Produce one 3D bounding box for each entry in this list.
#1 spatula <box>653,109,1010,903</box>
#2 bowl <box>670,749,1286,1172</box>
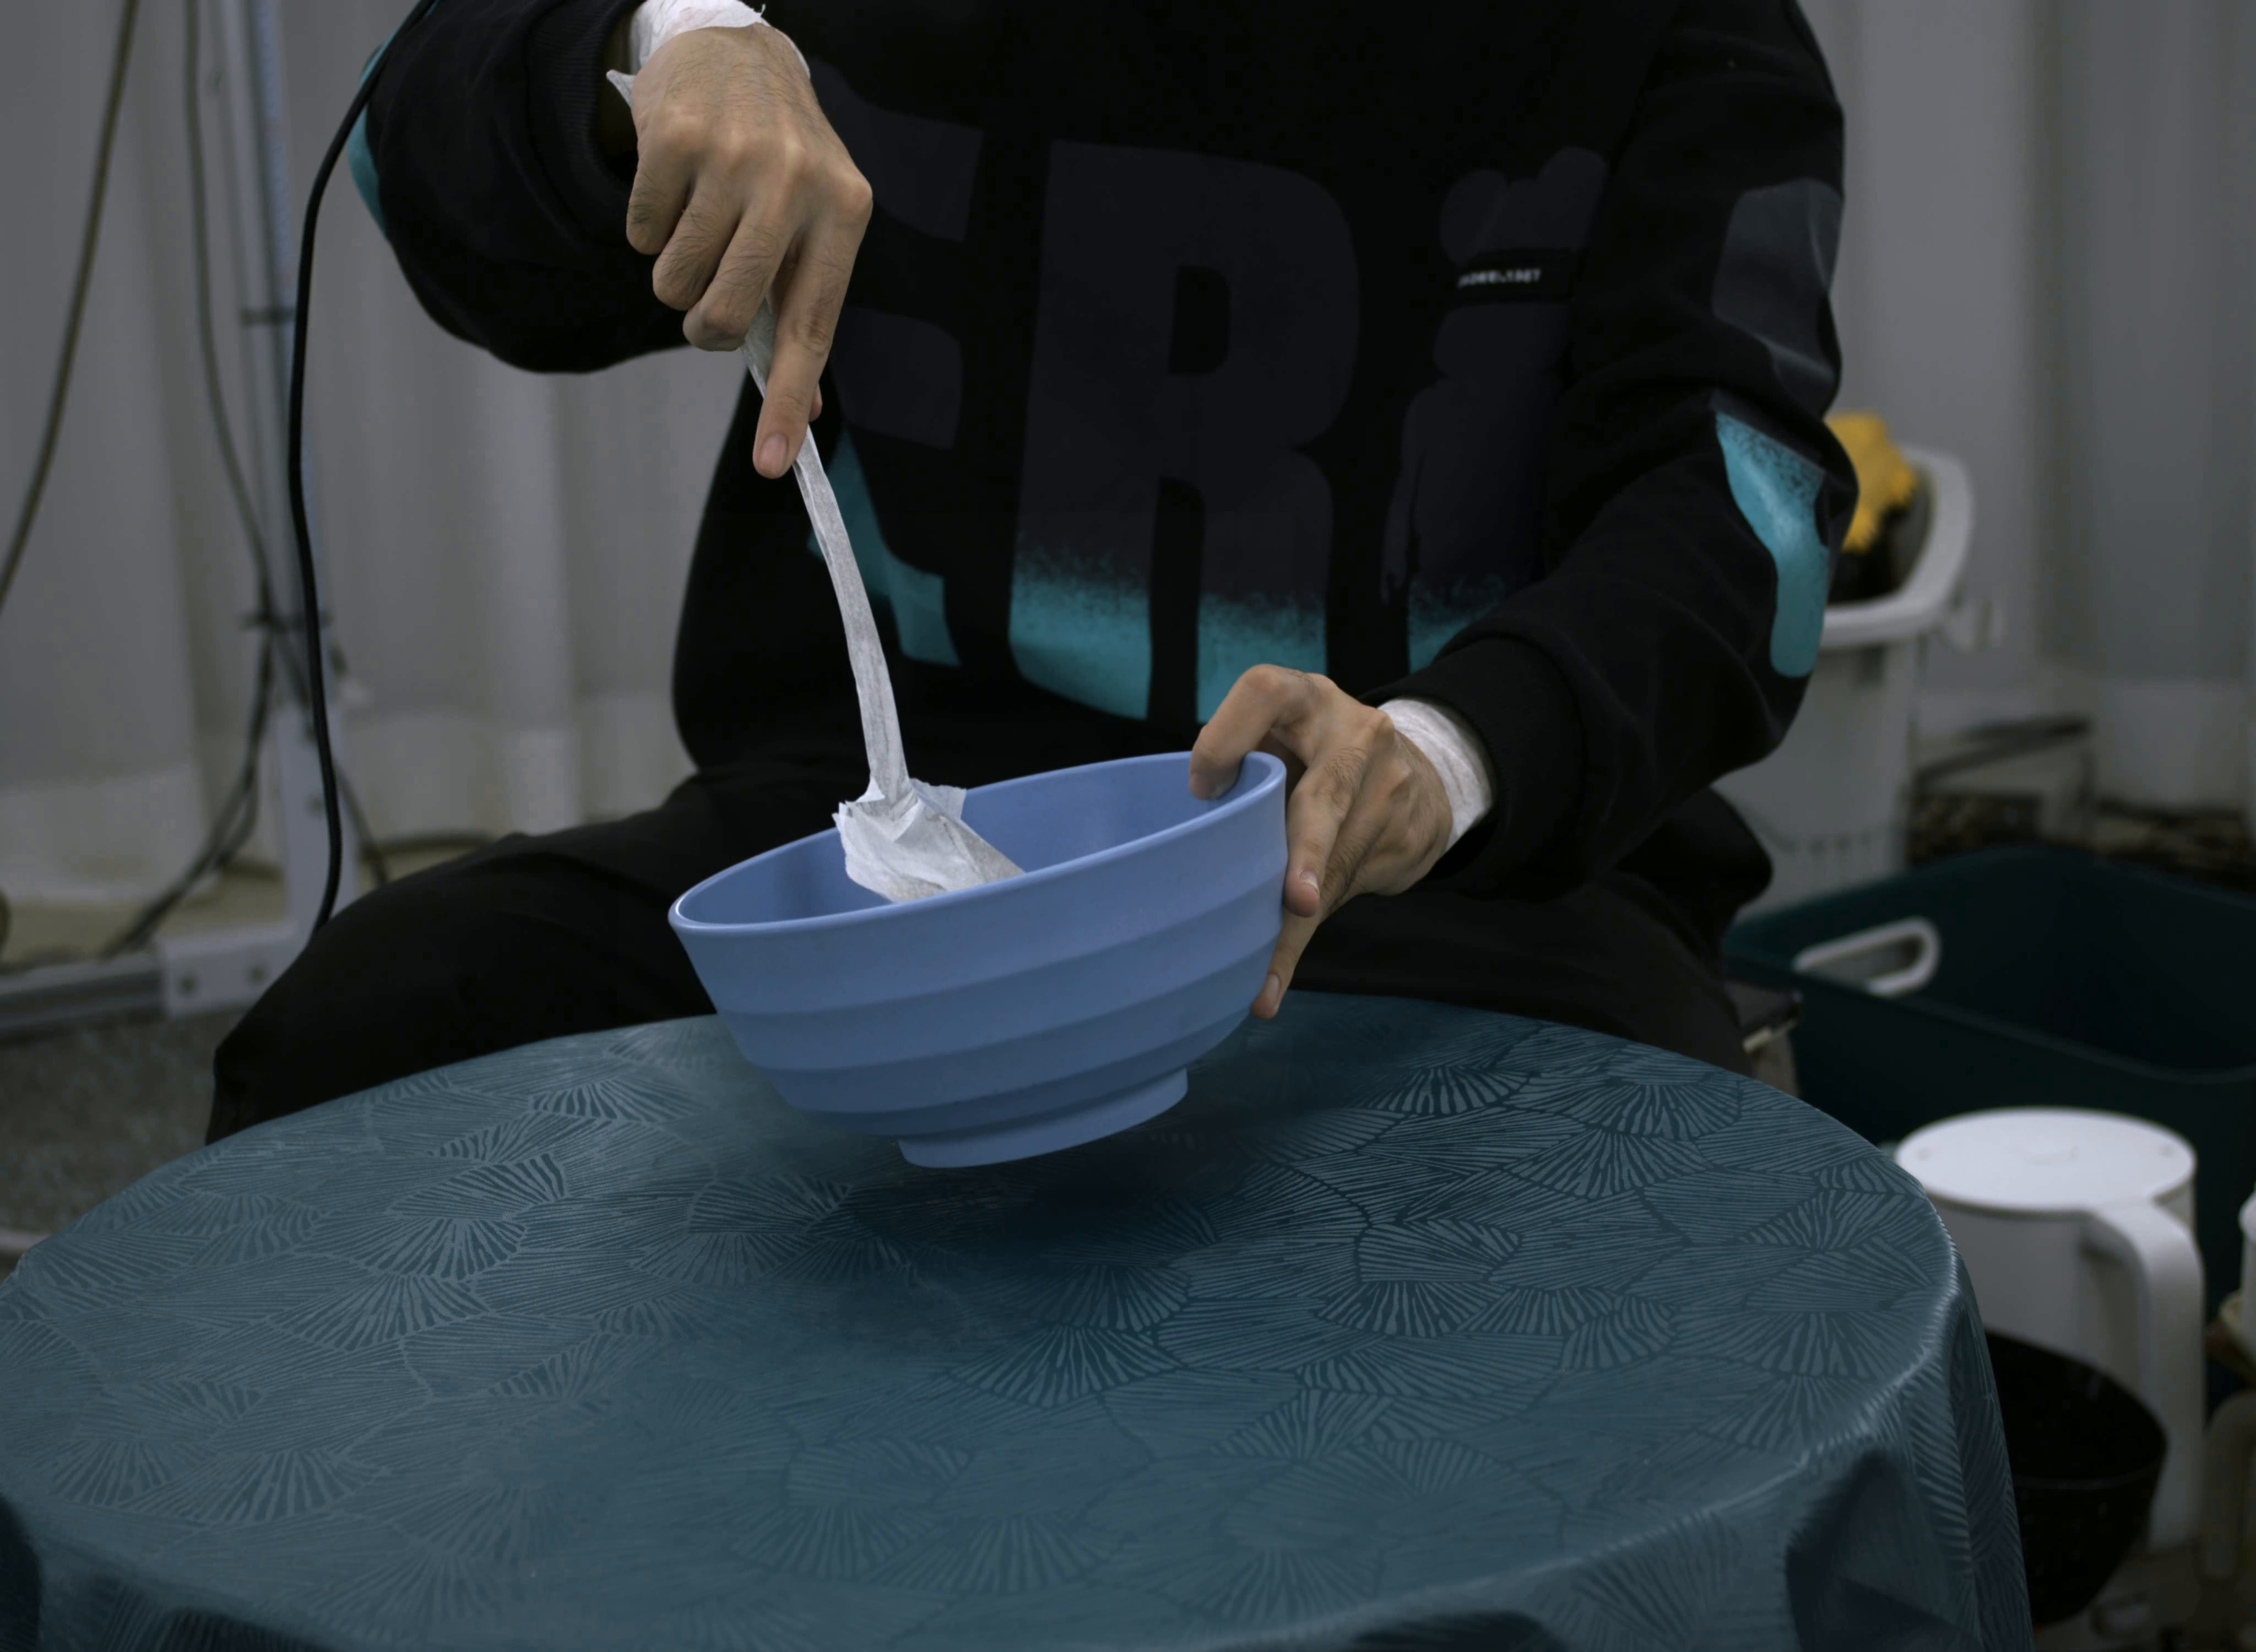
[{"bbox_3d":[-0.087,-0.090,1.731,0.044,0.369,0.098,-35,-28,32],"label":"spatula"},{"bbox_3d":[-0.036,0.048,1.697,0.196,0.095,0.197,-14,8,2],"label":"bowl"}]
